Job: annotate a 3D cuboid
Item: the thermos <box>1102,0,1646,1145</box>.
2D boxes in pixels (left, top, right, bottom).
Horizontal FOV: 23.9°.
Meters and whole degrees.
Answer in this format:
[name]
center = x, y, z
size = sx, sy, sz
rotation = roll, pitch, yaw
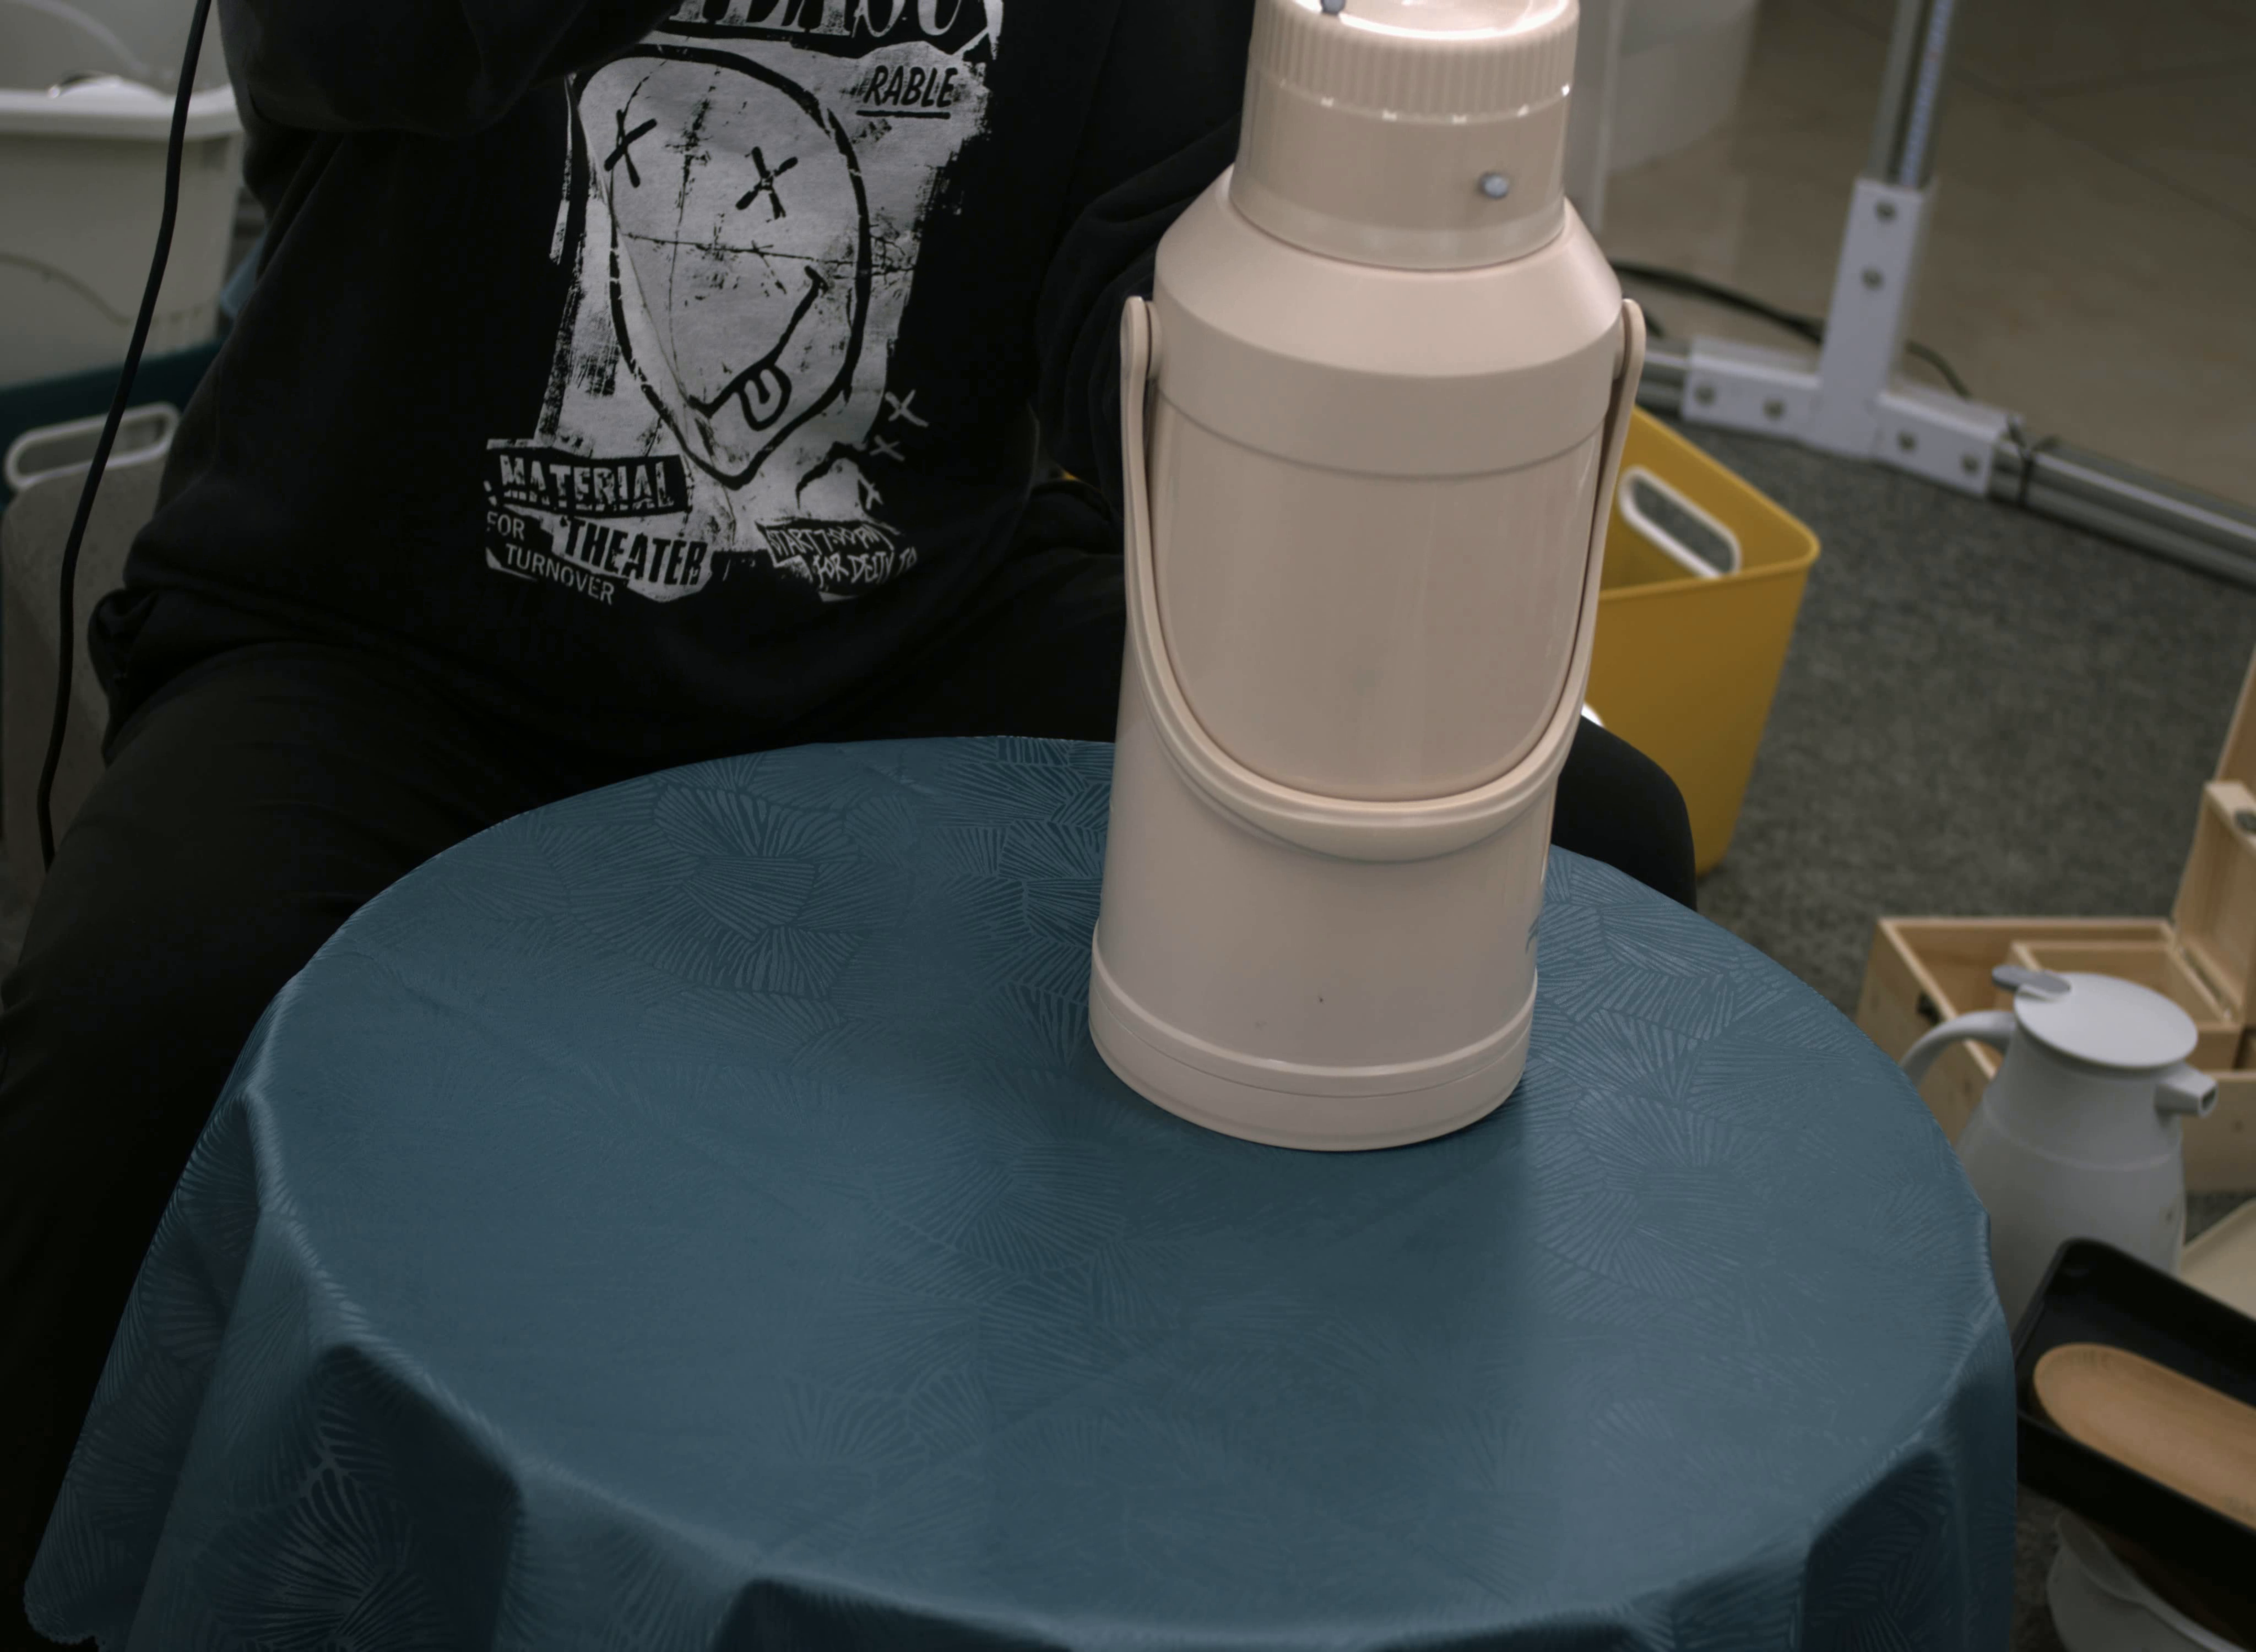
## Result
[thermos]
center = 0.080, -0.107, 1.831
size = 0.174, 0.405, 0.209
rotation = -2, 30, -9
